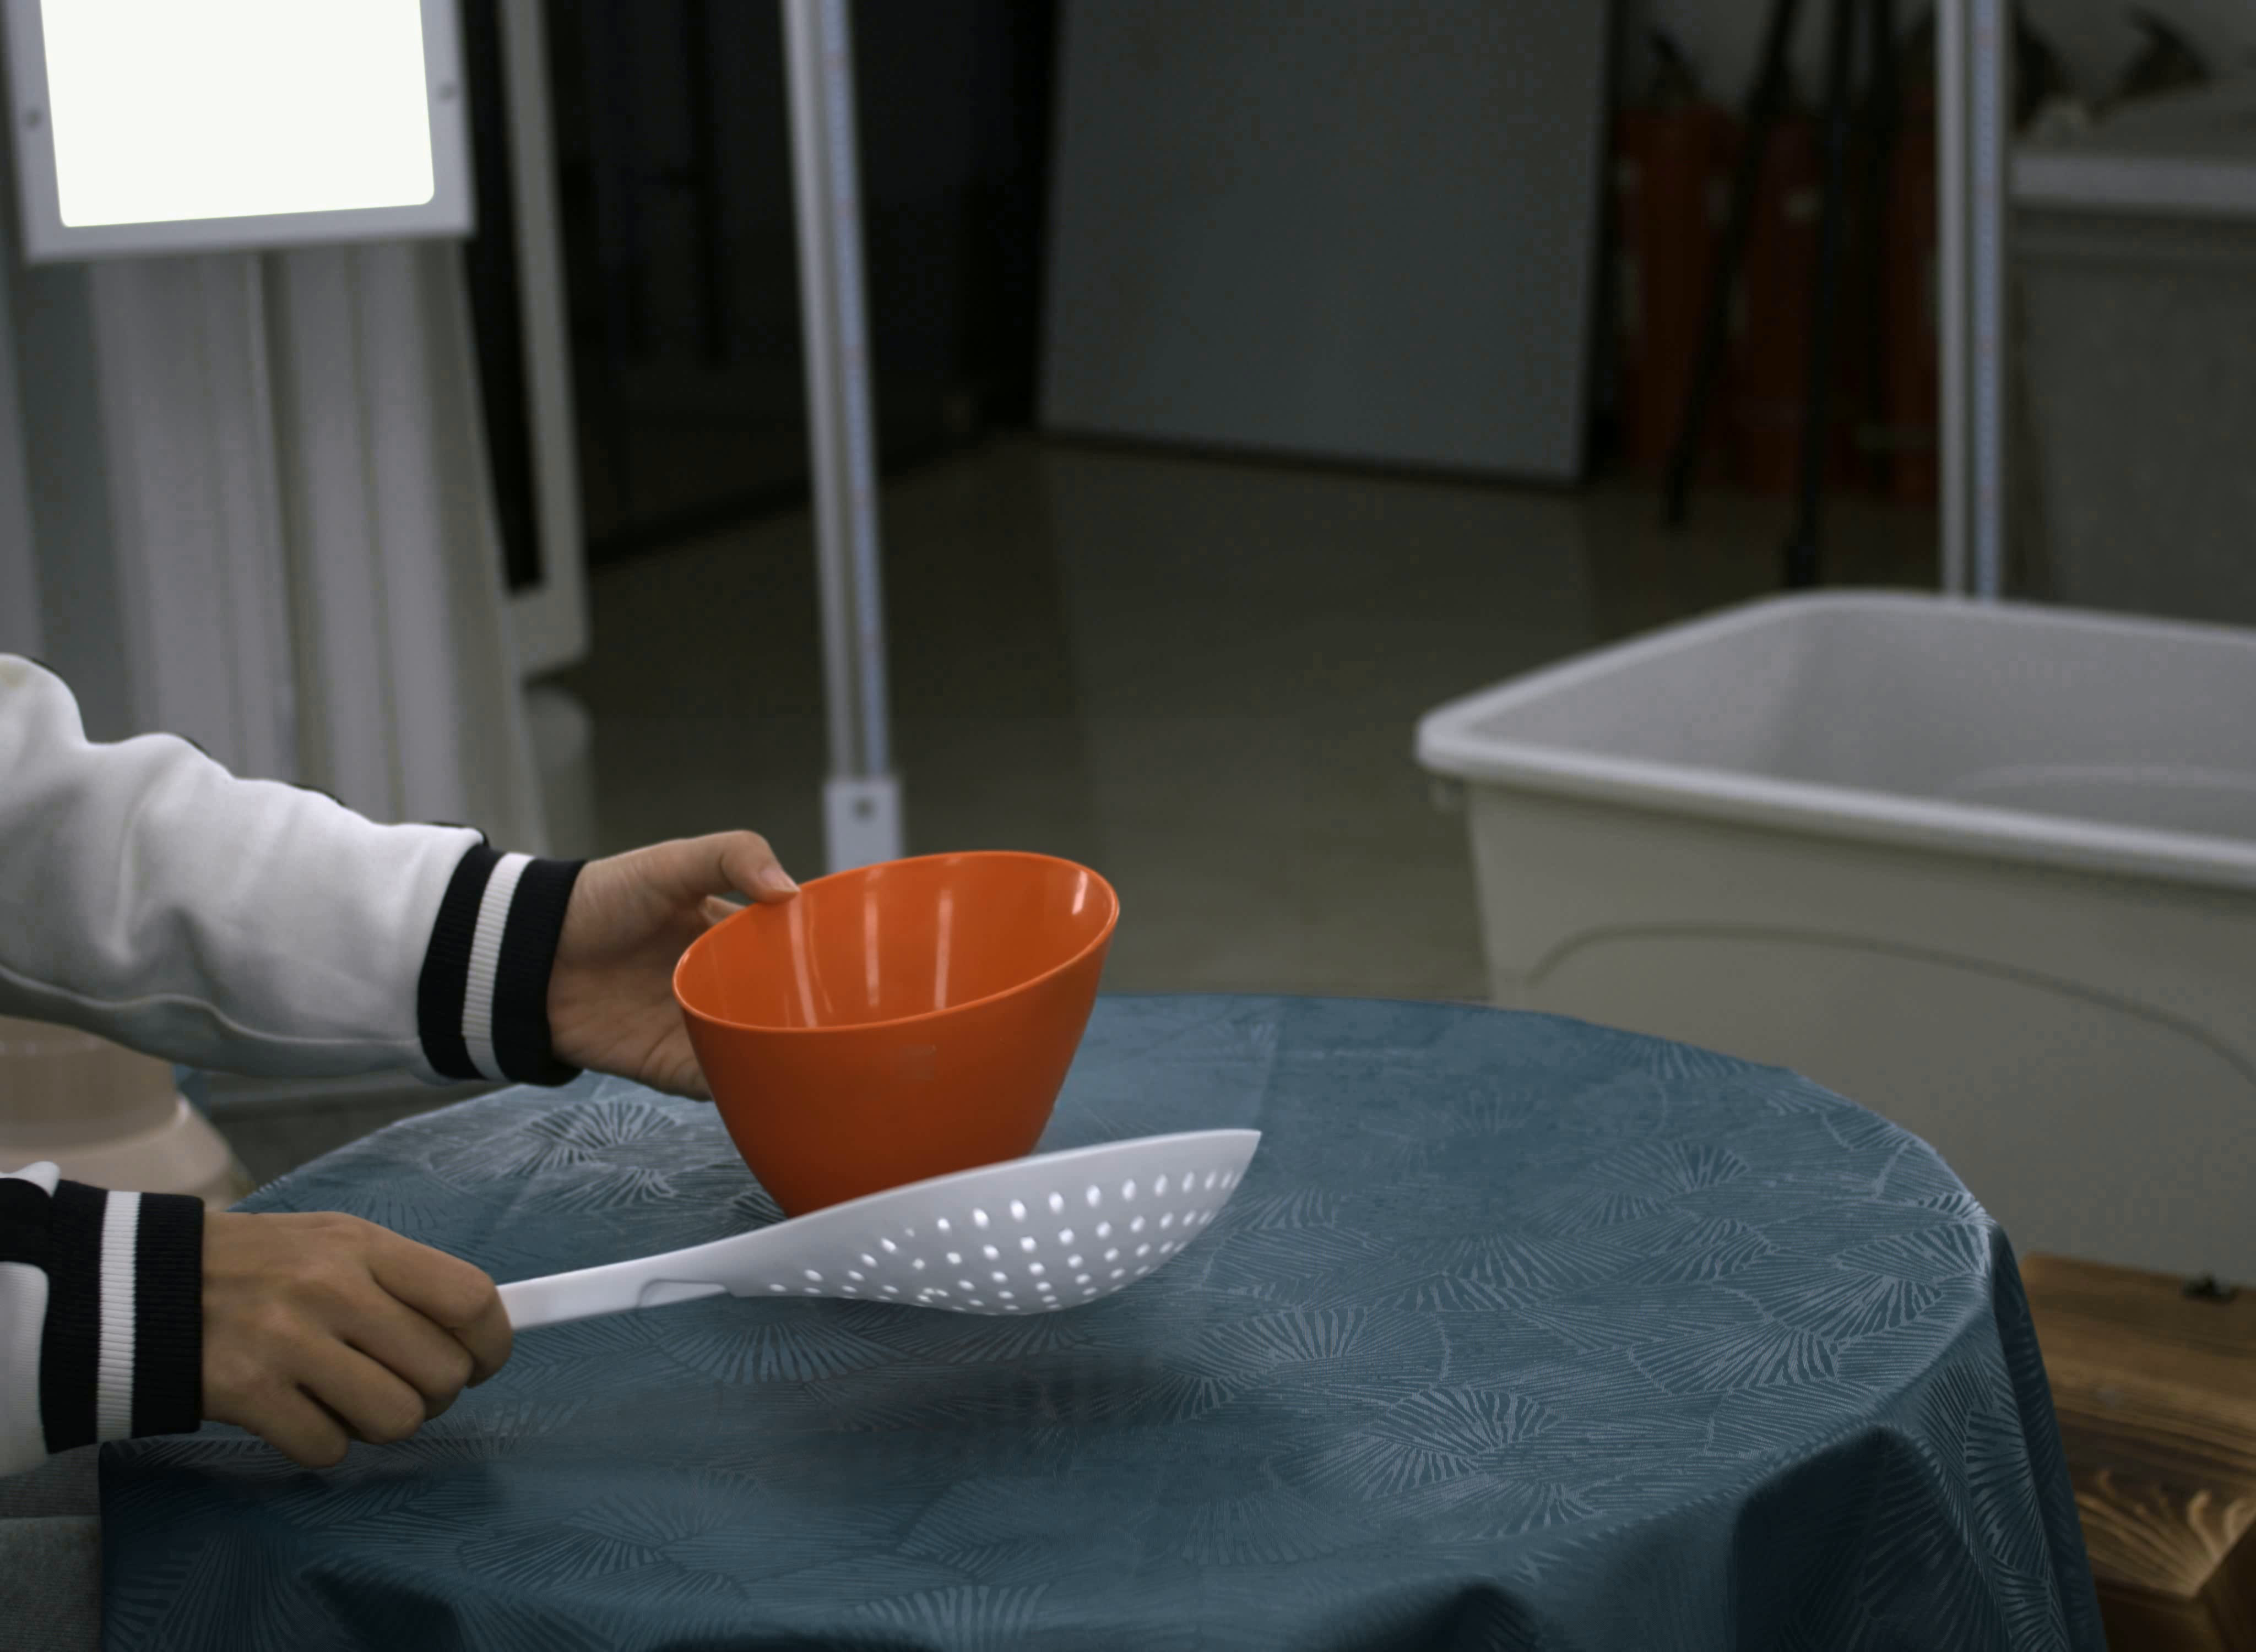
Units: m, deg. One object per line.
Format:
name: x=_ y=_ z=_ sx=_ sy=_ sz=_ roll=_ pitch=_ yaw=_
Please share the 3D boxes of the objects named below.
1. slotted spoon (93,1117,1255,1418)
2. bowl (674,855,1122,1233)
slotted spoon: x=-0.132 y=0.130 z=1.572 sx=0.346 sy=0.046 sz=0.135 roll=-7 pitch=-11 yaw=7
bowl: x=-0.072 y=0.078 z=1.754 sx=0.146 sy=0.106 sz=0.148 roll=-3 pitch=14 yaw=0
